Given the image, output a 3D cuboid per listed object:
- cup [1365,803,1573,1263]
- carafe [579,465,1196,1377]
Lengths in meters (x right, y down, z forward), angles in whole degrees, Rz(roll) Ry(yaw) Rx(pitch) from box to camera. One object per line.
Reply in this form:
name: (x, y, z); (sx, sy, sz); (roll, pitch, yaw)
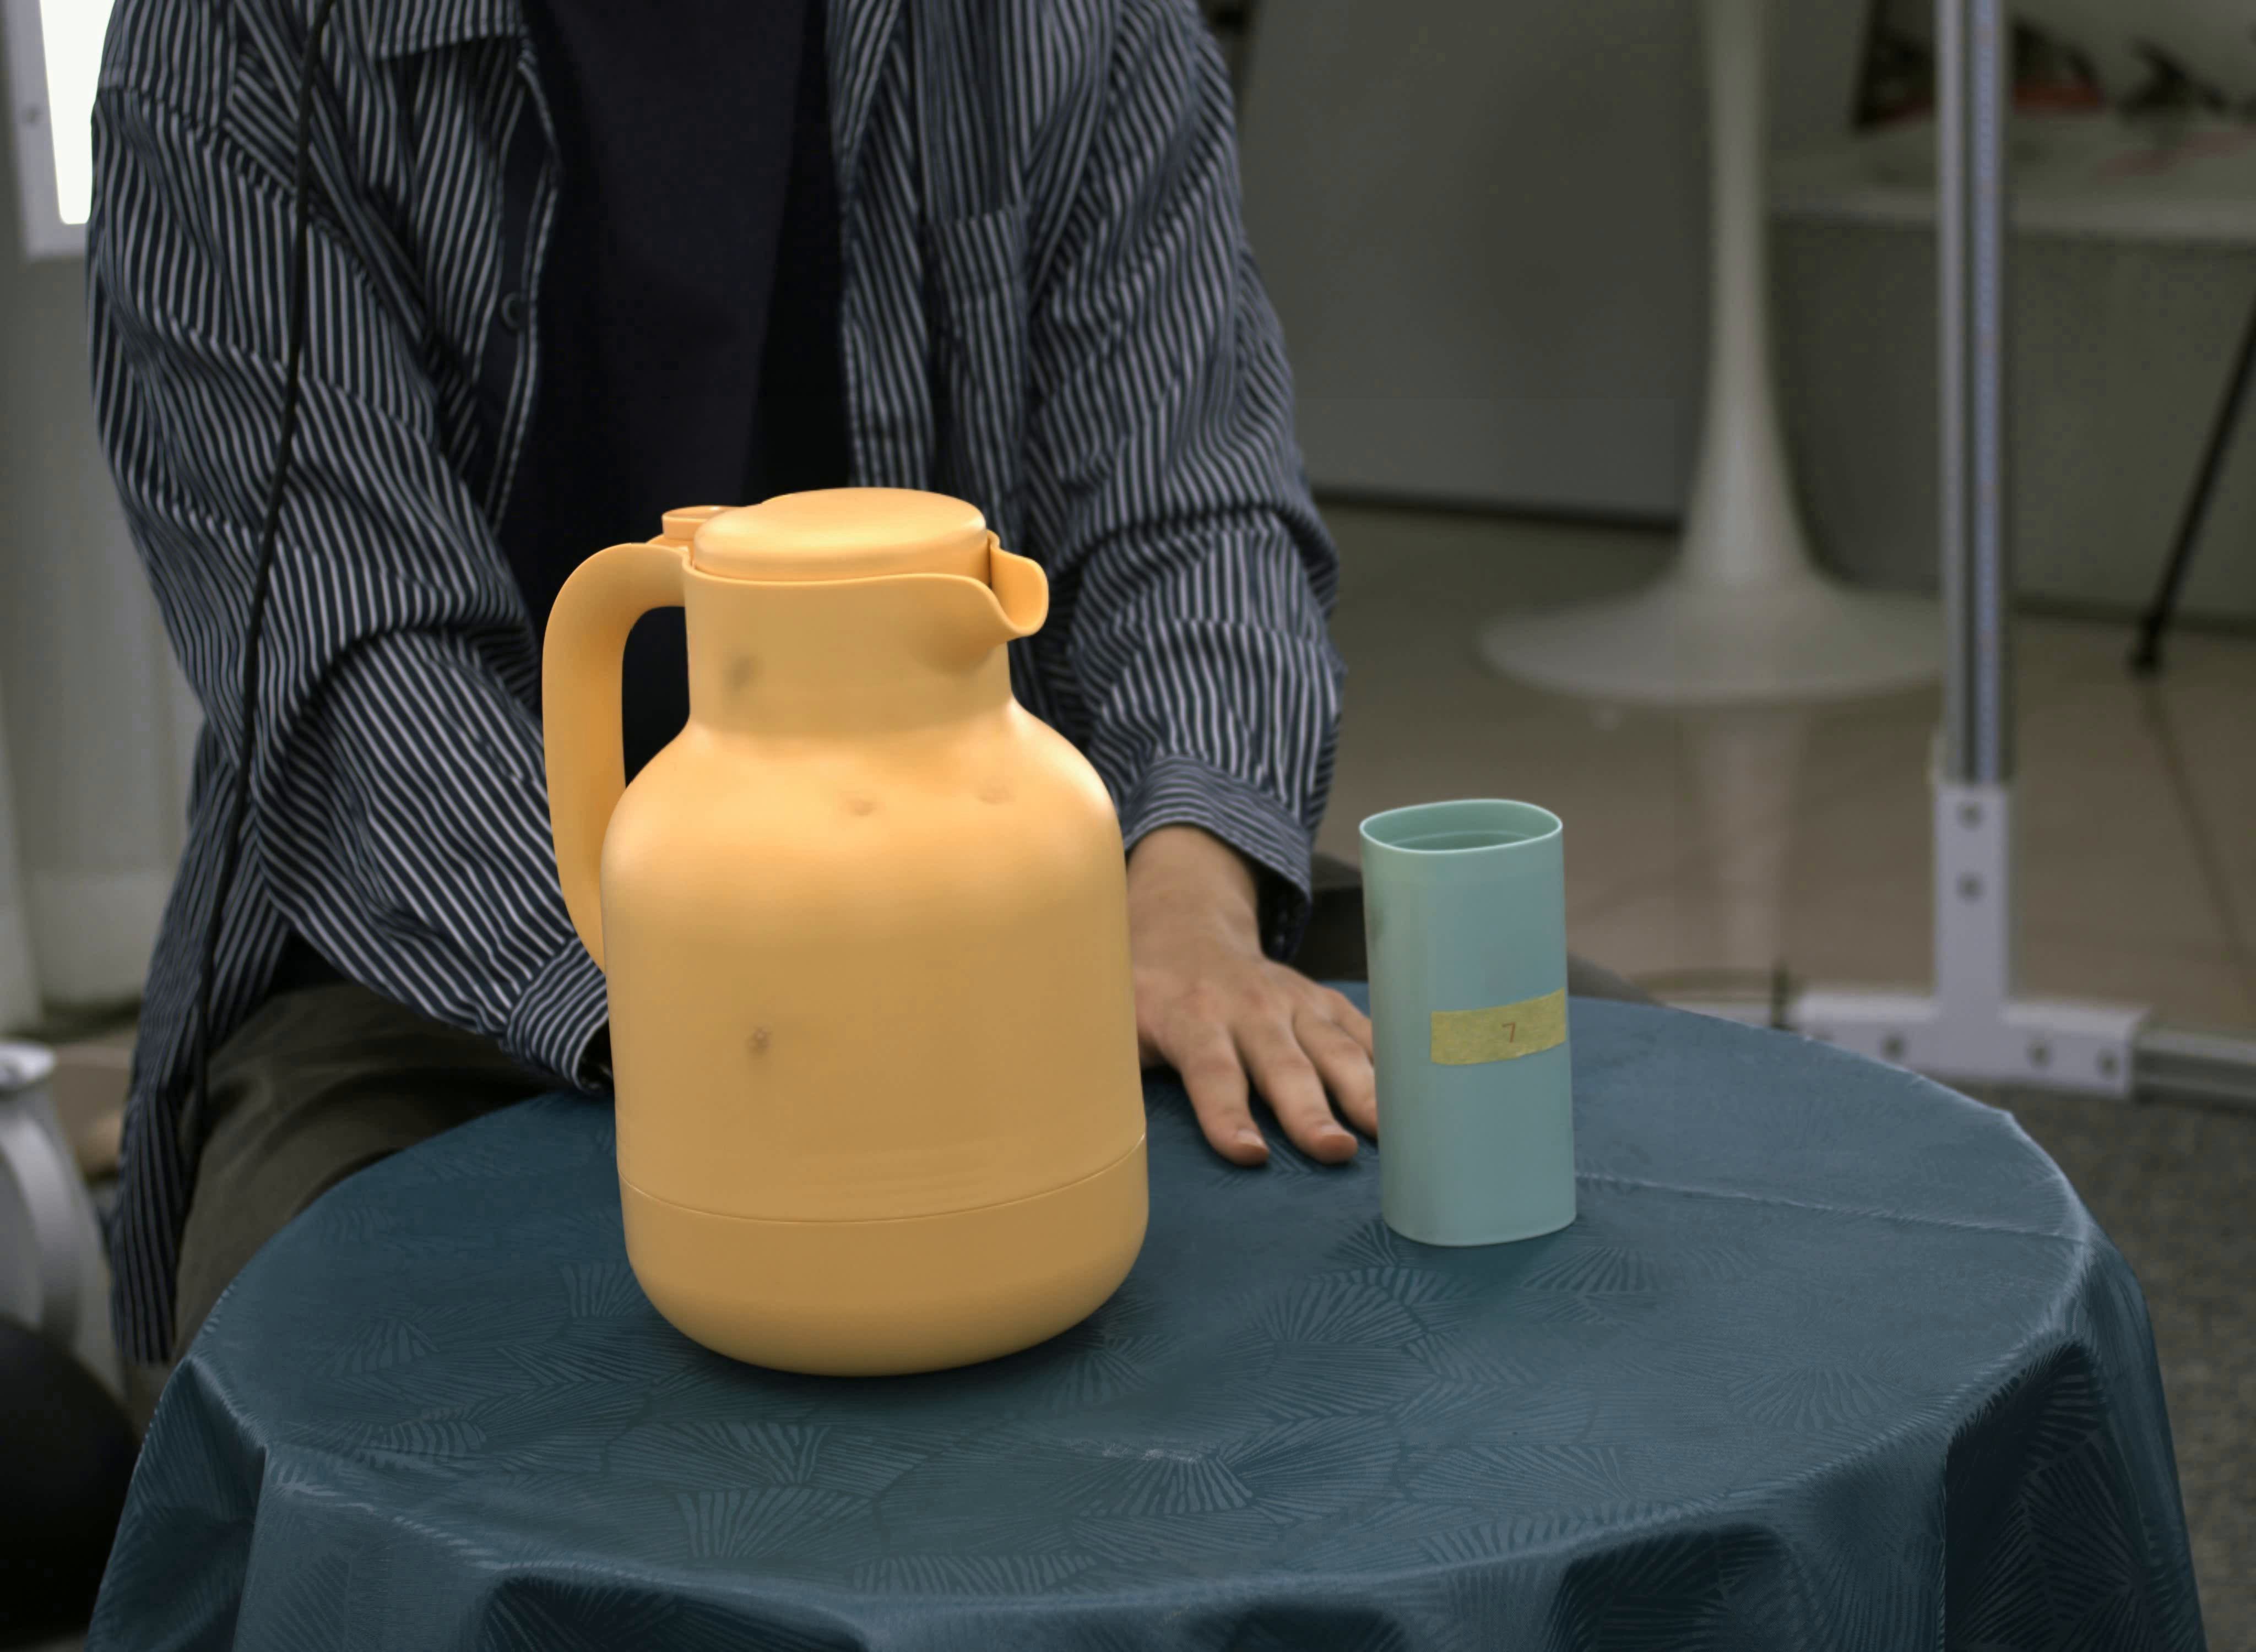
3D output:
cup: (0.108, 0.064, 1.703); (0.066, 0.134, 0.067); (-3, 15, 0)
carafe: (-0.079, 0.023, 1.644); (0.204, 0.263, 0.160); (7, 16, 37)
